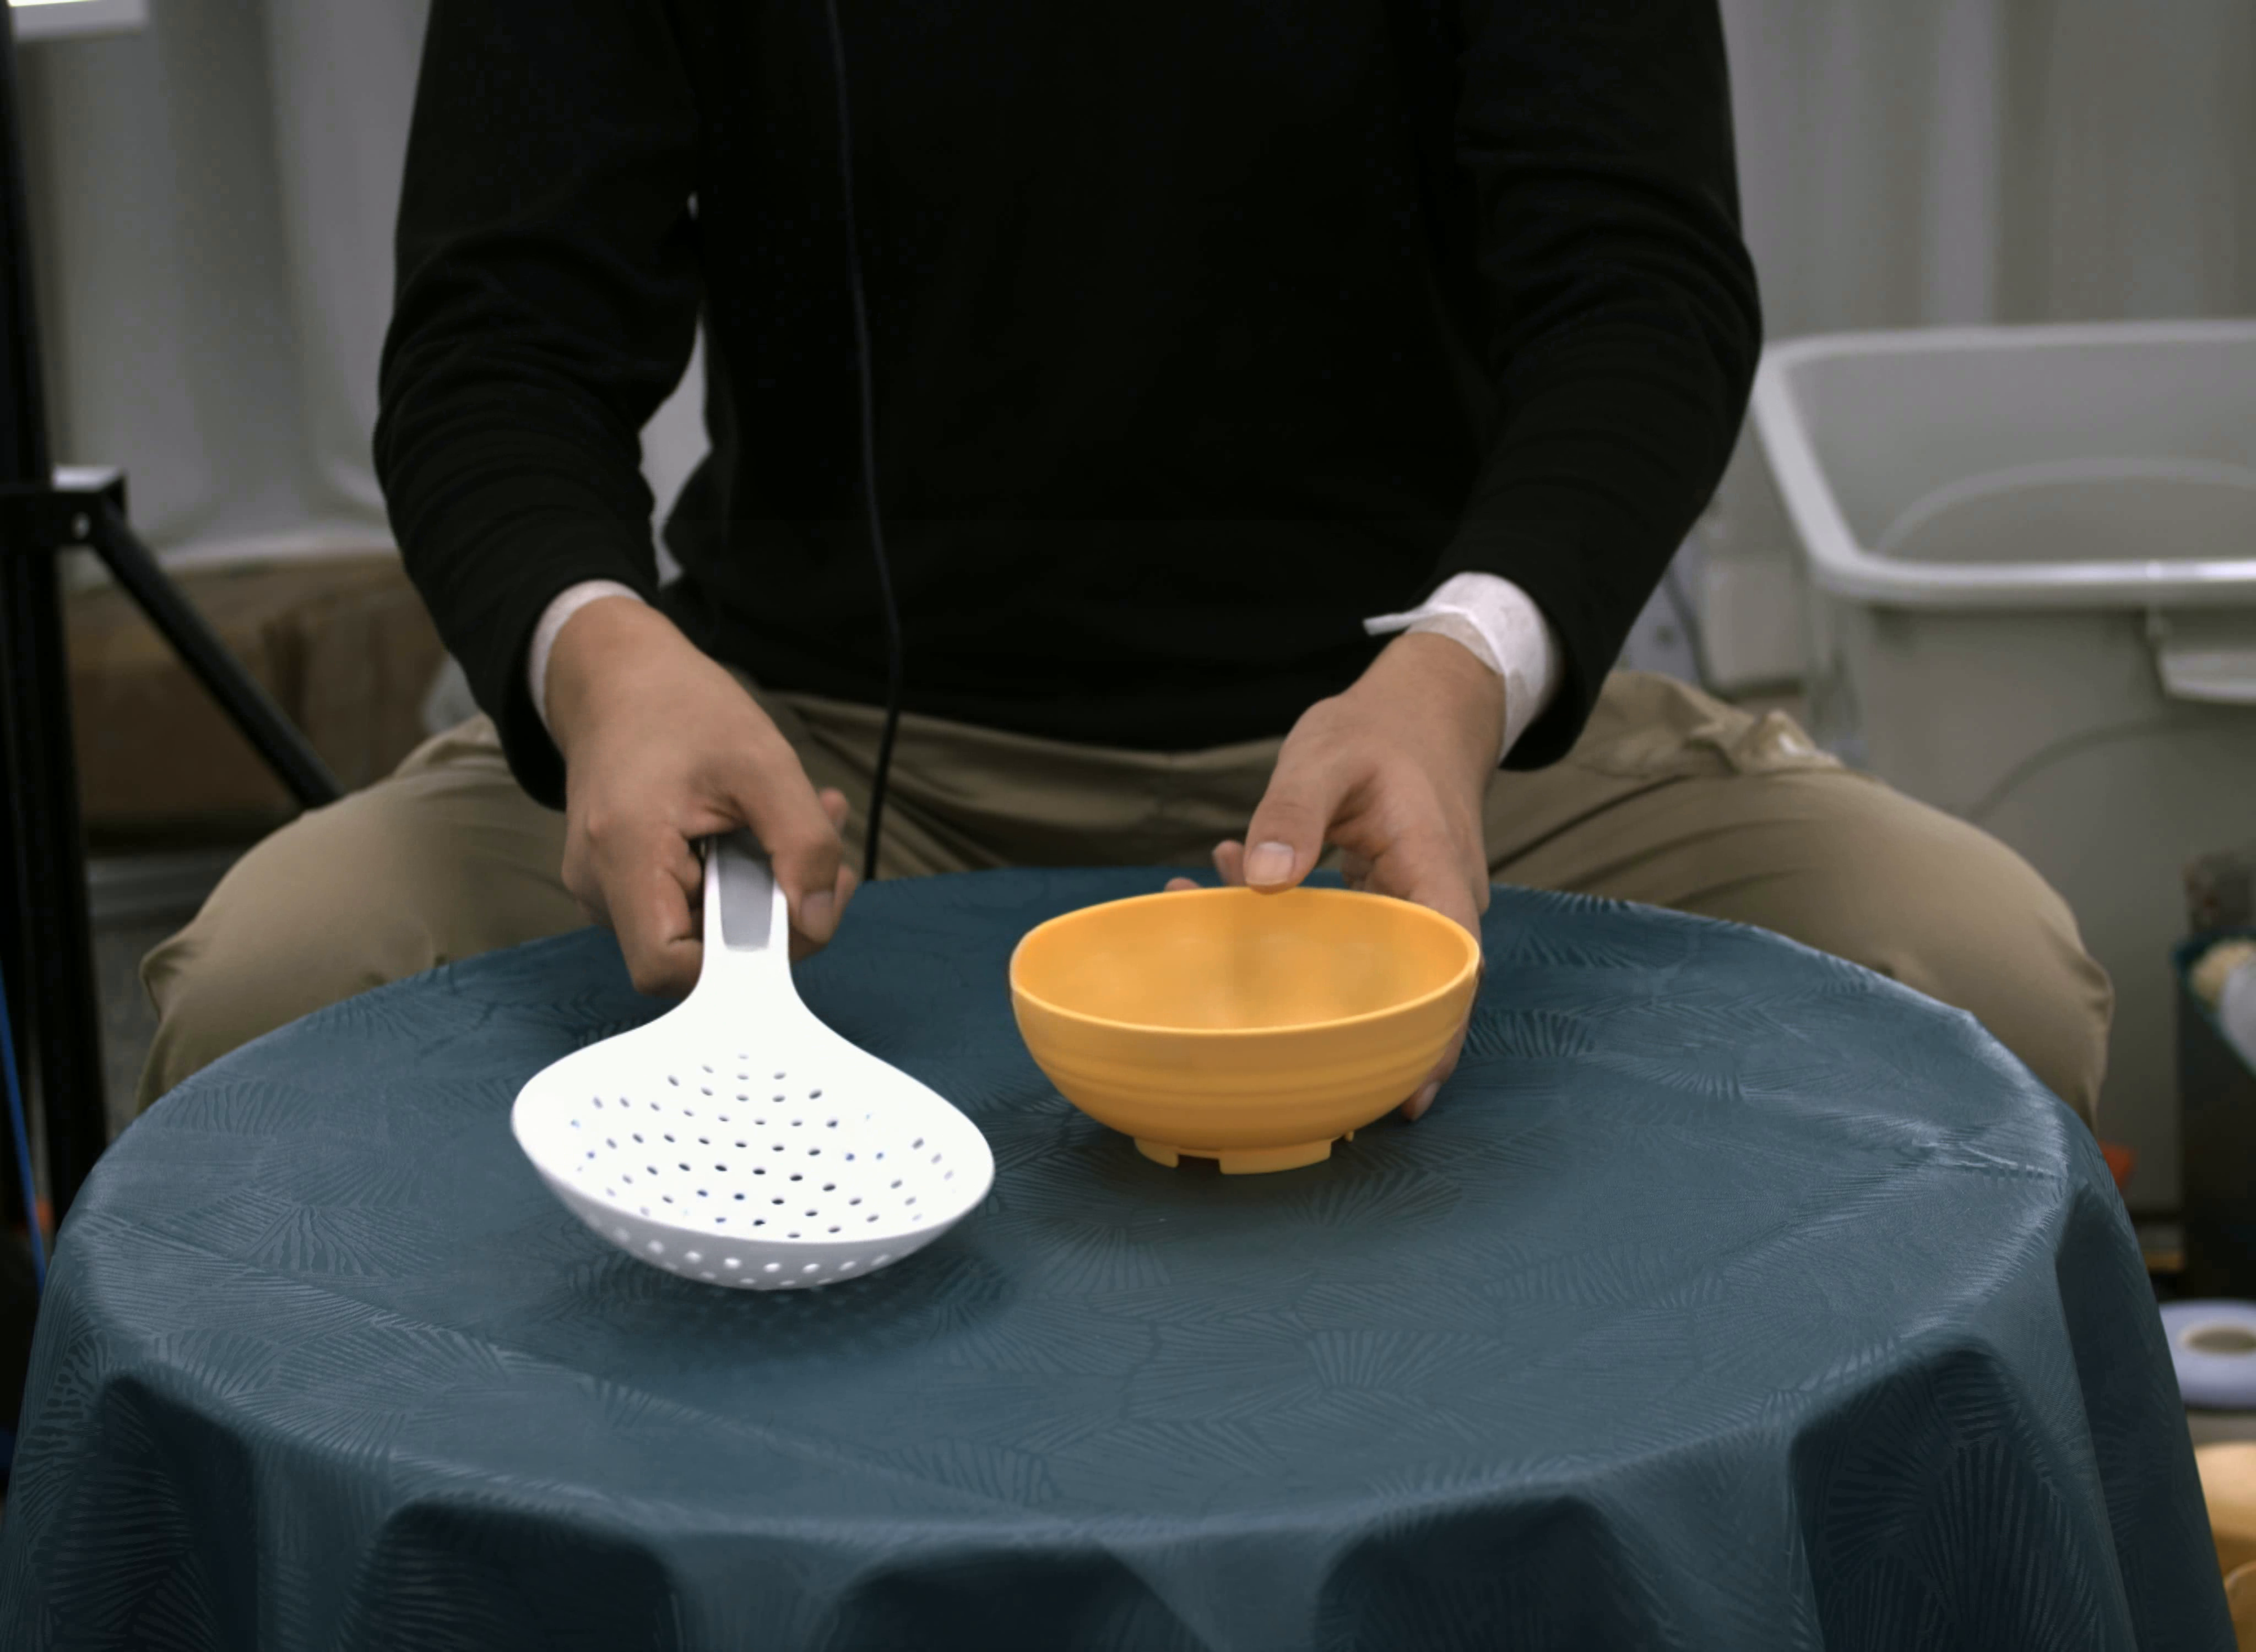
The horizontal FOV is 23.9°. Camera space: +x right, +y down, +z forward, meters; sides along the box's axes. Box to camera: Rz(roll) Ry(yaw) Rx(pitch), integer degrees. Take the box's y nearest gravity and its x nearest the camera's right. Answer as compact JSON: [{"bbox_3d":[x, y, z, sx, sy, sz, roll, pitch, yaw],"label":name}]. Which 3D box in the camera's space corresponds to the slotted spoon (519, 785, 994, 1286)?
[{"bbox_3d":[-0.115,0.055,1.603,0.134,0.046,0.353,7,24,-8],"label":"slotted spoon"}]

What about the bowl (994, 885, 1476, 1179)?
[{"bbox_3d":[0.032,0.067,1.593,0.144,0.060,0.146,-1,16,-1],"label":"bowl"}]
